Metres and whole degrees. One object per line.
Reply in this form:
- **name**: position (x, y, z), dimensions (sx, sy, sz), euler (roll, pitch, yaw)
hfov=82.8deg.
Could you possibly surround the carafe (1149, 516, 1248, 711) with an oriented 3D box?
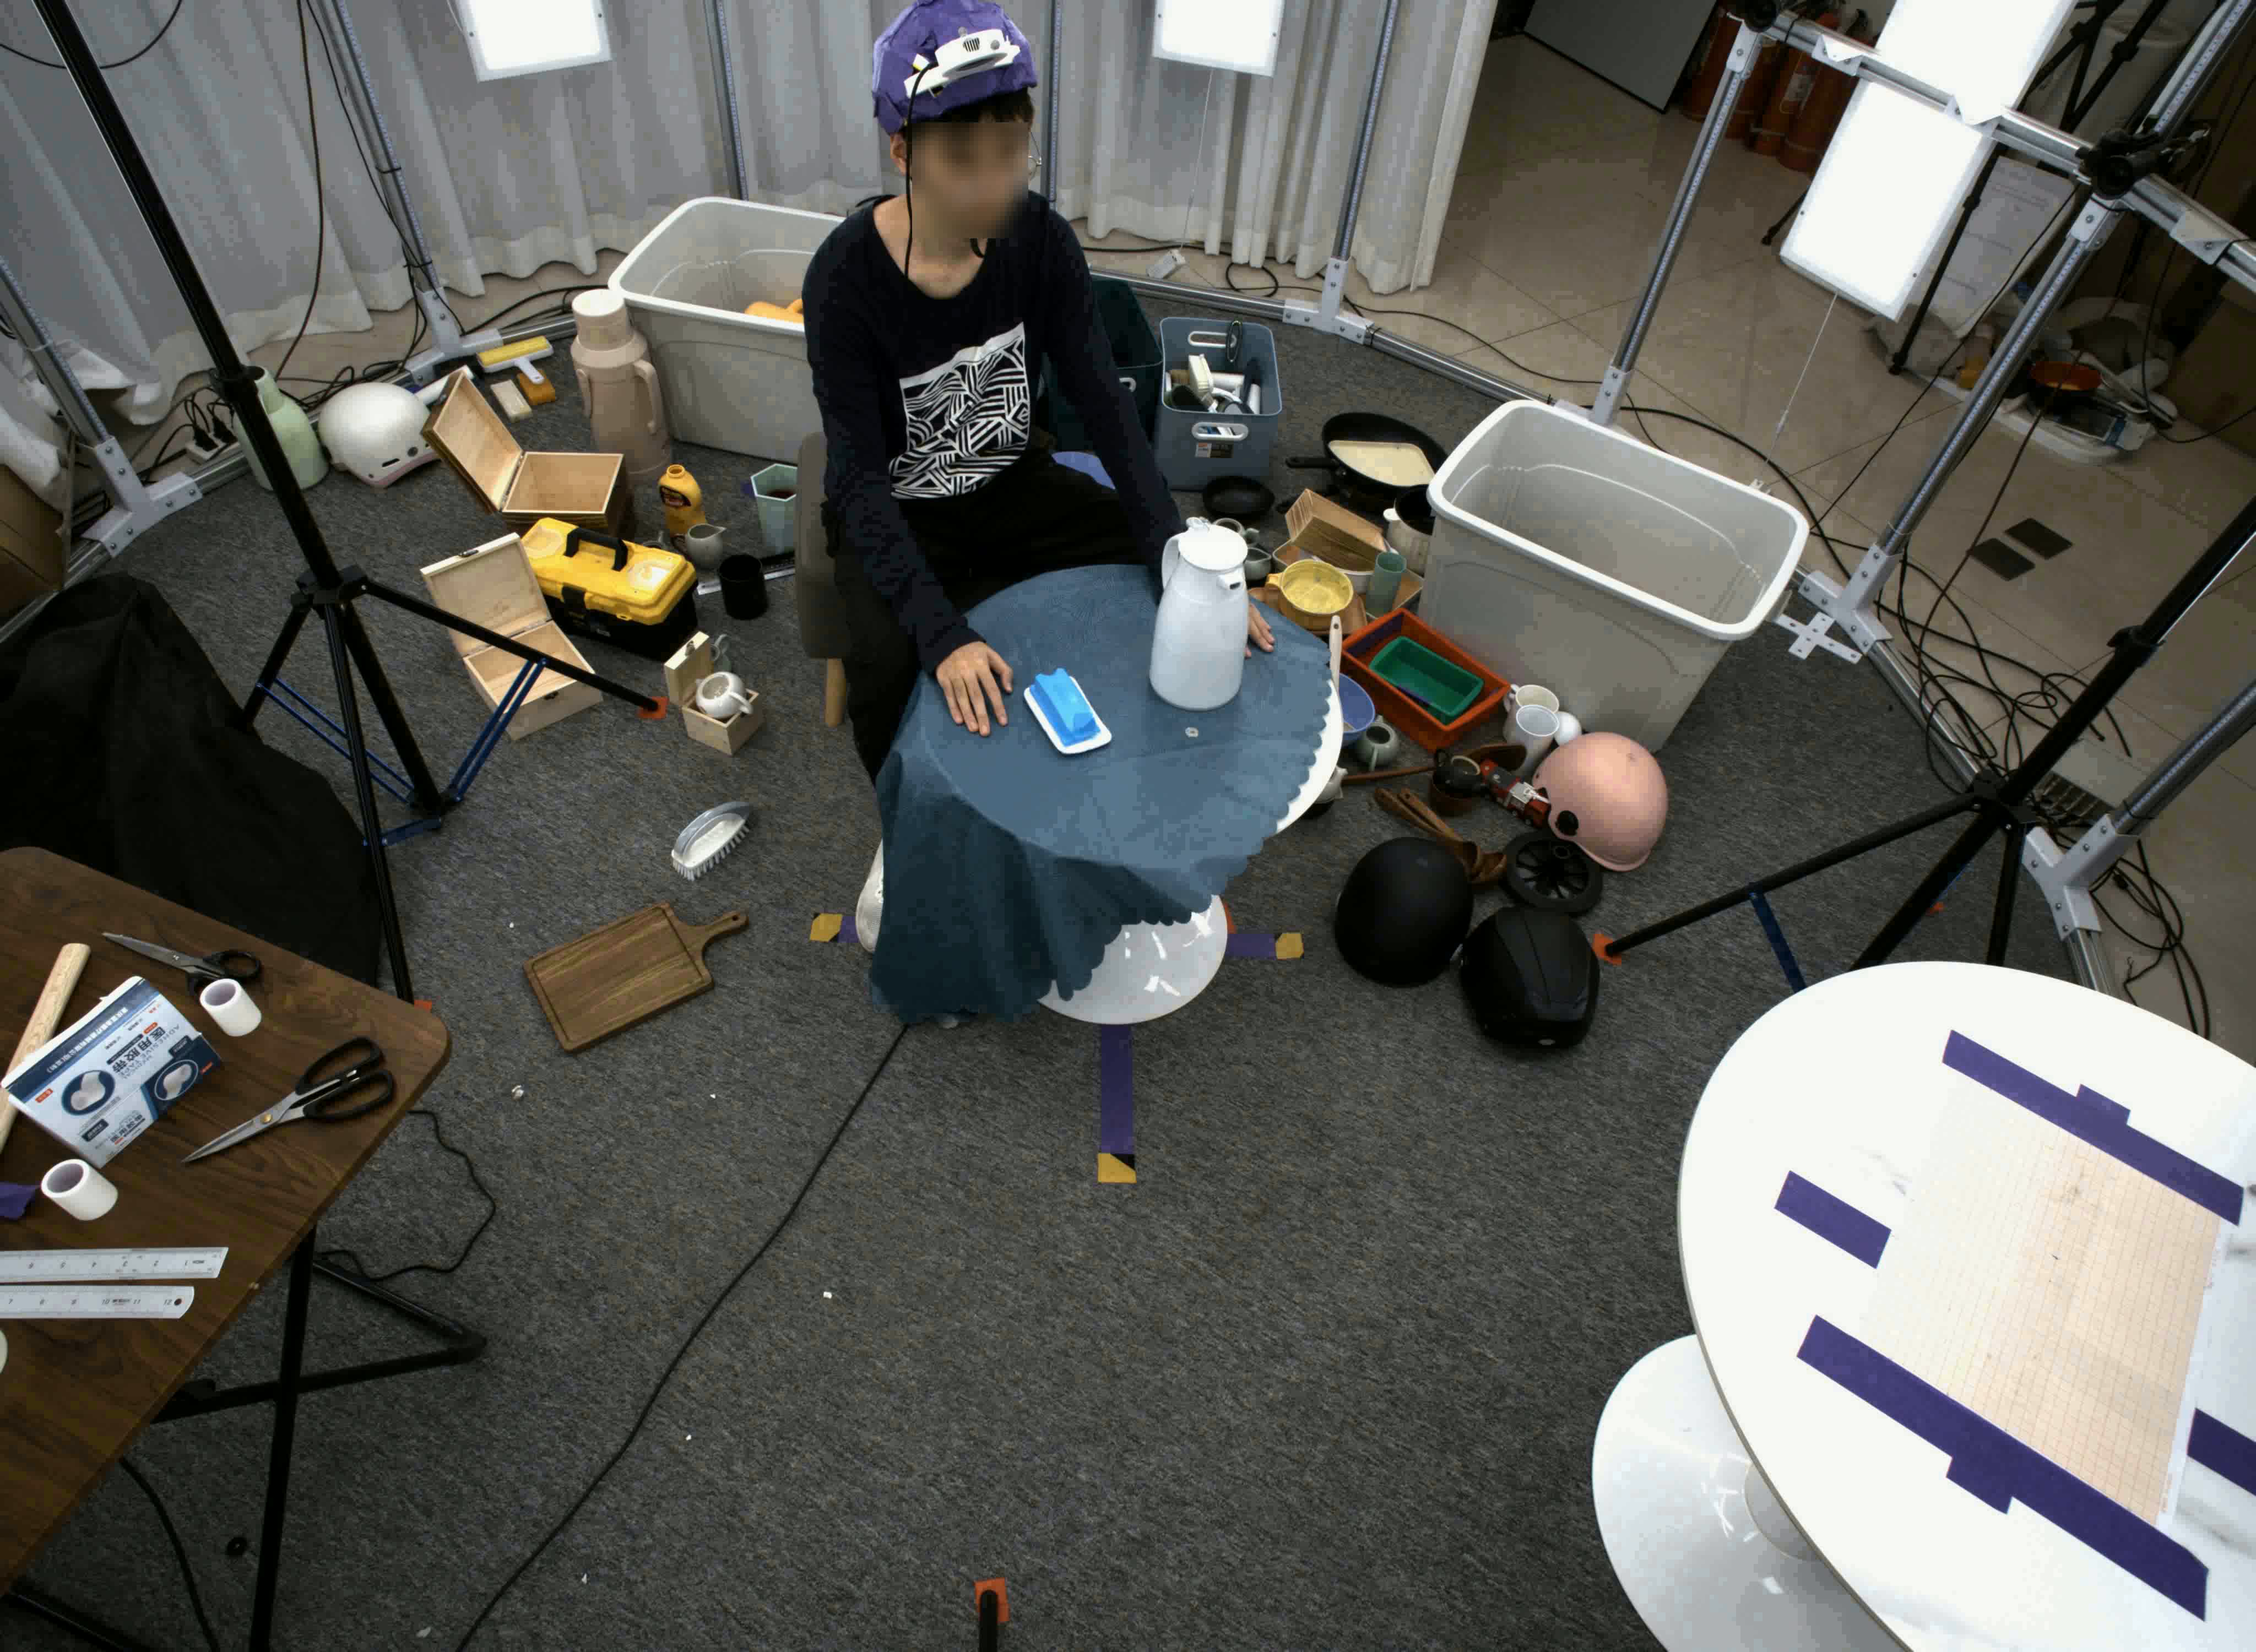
- **carafe**: position (0.093, -0.305, 1.778), dimensions (0.133, 0.242, 0.171), euler (-21, 52, -21)

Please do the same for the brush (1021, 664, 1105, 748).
- **brush**: position (-0.088, -0.173, 1.773), dimensions (0.084, 0.054, 0.147), euler (-15, 53, -20)
